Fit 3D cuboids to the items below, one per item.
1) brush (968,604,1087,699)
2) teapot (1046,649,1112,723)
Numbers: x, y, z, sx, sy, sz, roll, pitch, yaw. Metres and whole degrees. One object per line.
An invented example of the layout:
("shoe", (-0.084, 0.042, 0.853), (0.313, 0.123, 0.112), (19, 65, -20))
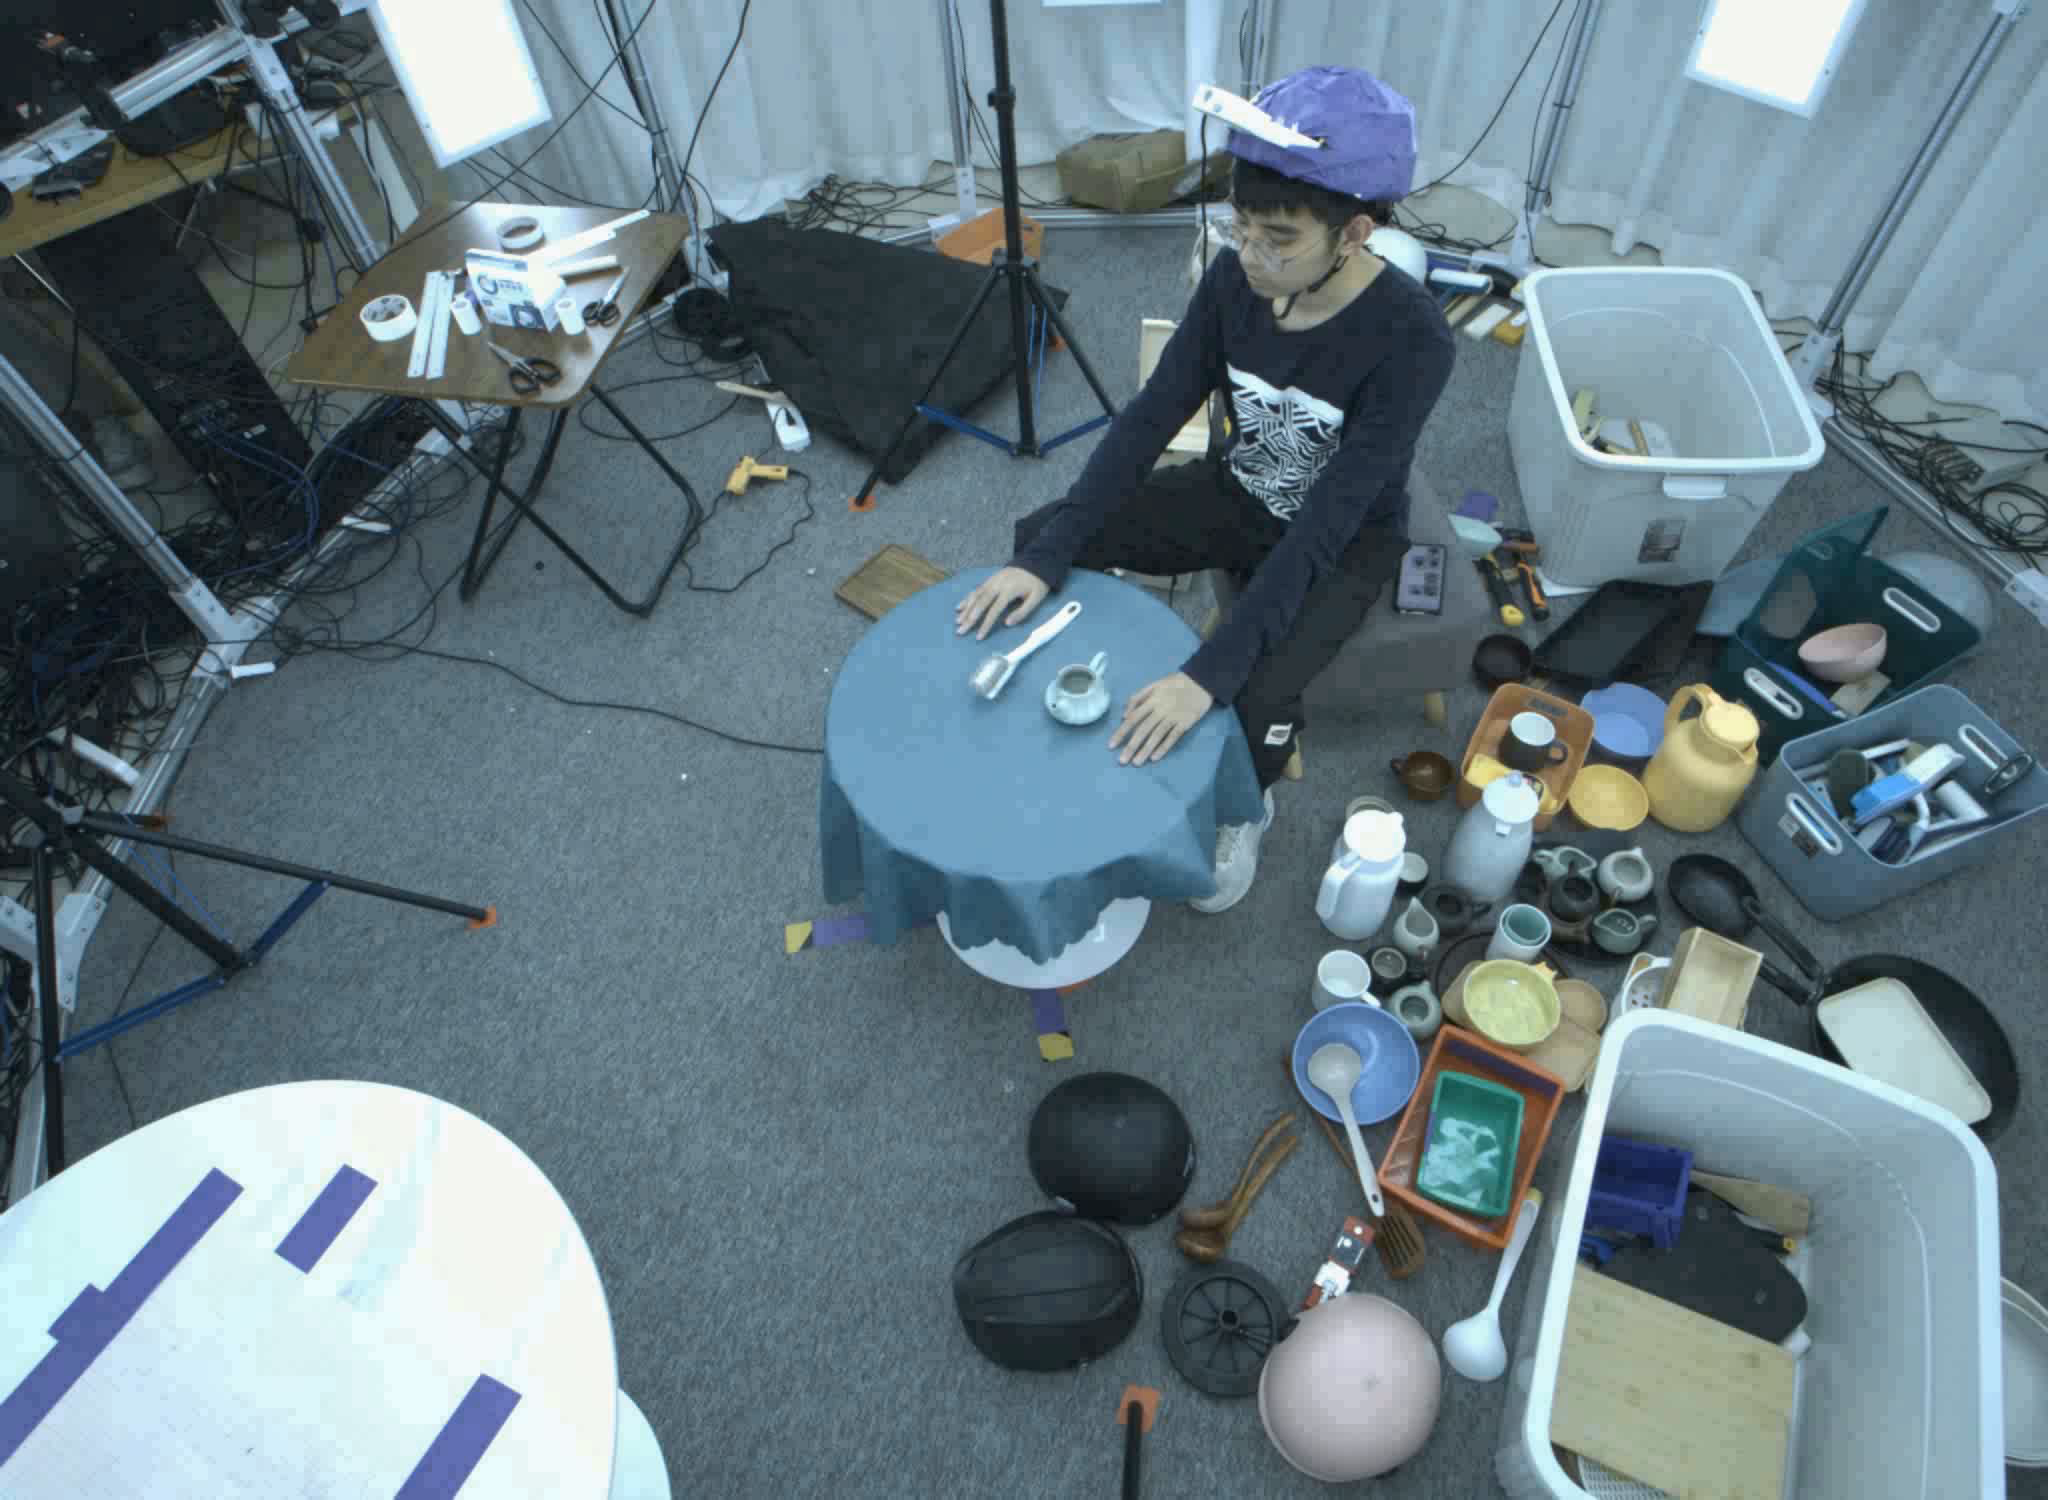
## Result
("brush", (0.009, -0.163, 1.867), (0.034, 0.051, 0.245), (34, 62, 29))
("teapot", (0.082, -0.089, 1.803), (0.094, 0.062, 0.137), (27, 60, 23))
